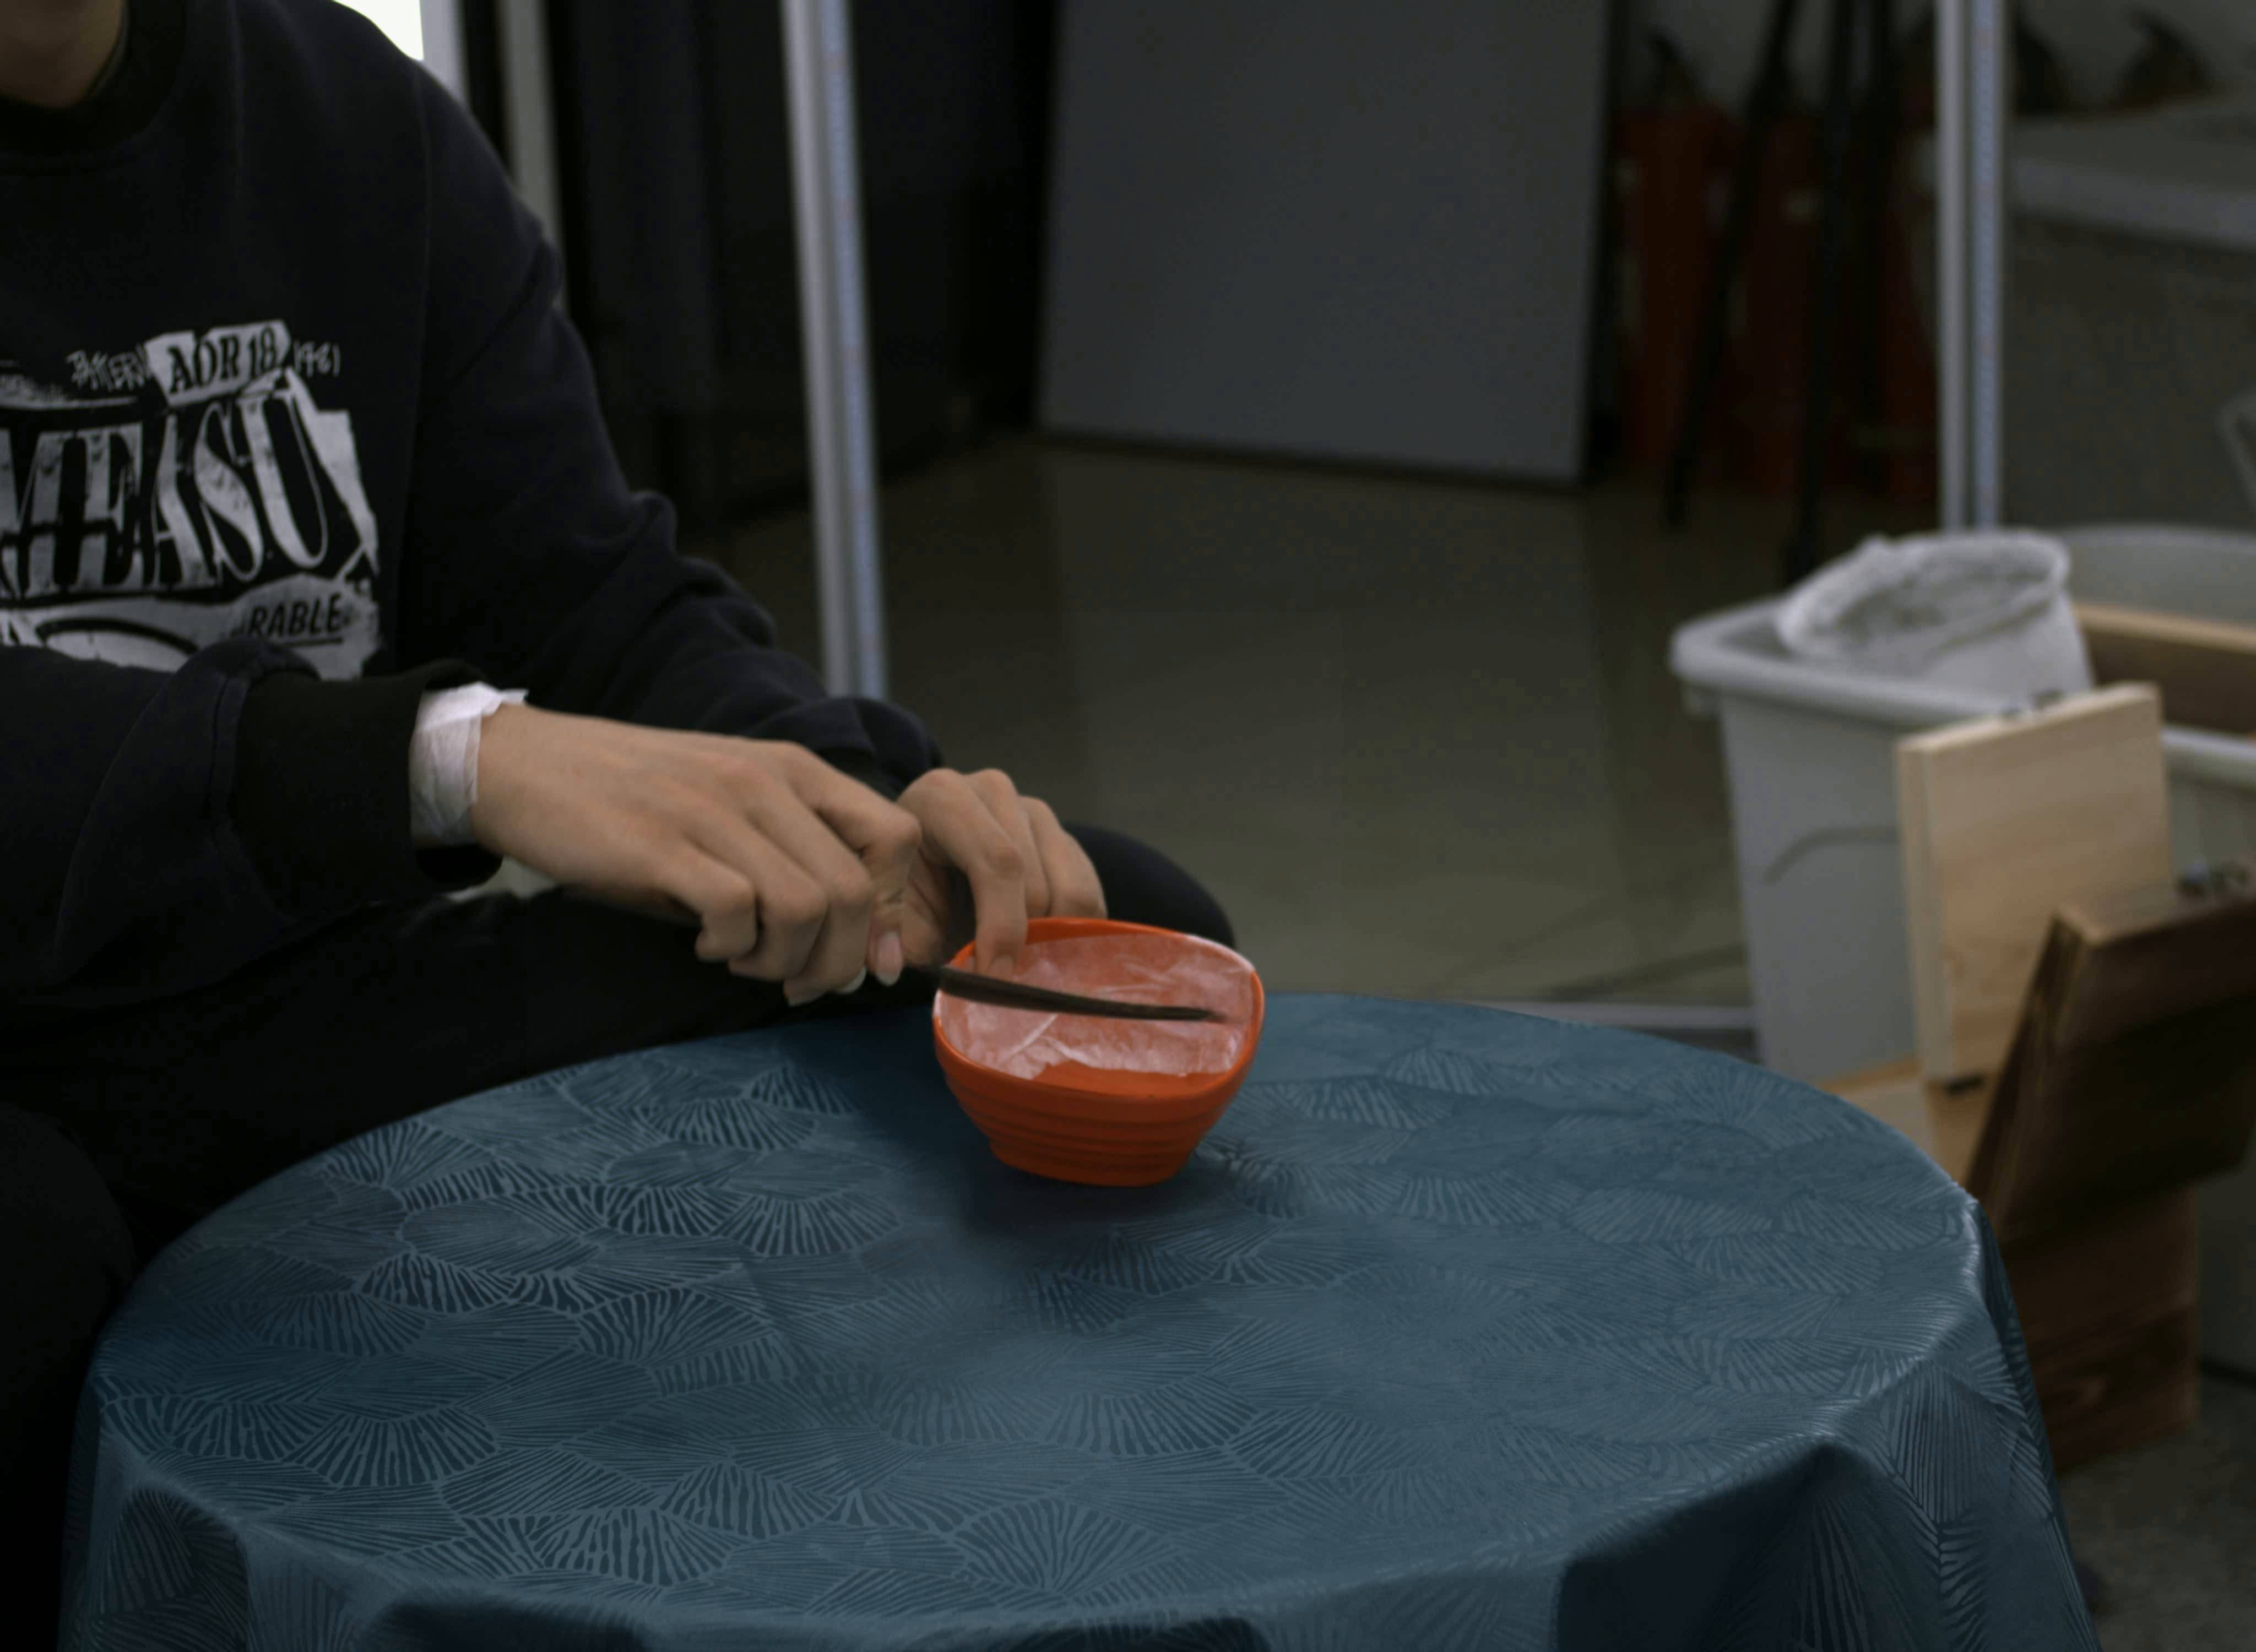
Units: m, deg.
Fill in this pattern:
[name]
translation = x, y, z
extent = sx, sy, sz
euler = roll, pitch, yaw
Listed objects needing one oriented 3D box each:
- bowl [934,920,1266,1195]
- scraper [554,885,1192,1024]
[bowl]
translation = -0.010, 0.082, 1.792
extent = 0.117, 0.052, 0.119
euler = 1, 31, -2
[scraper]
translation = -0.081, 0.042, 1.670
extent = 0.206, 0.011, 0.076
euler = 14, -8, -29
